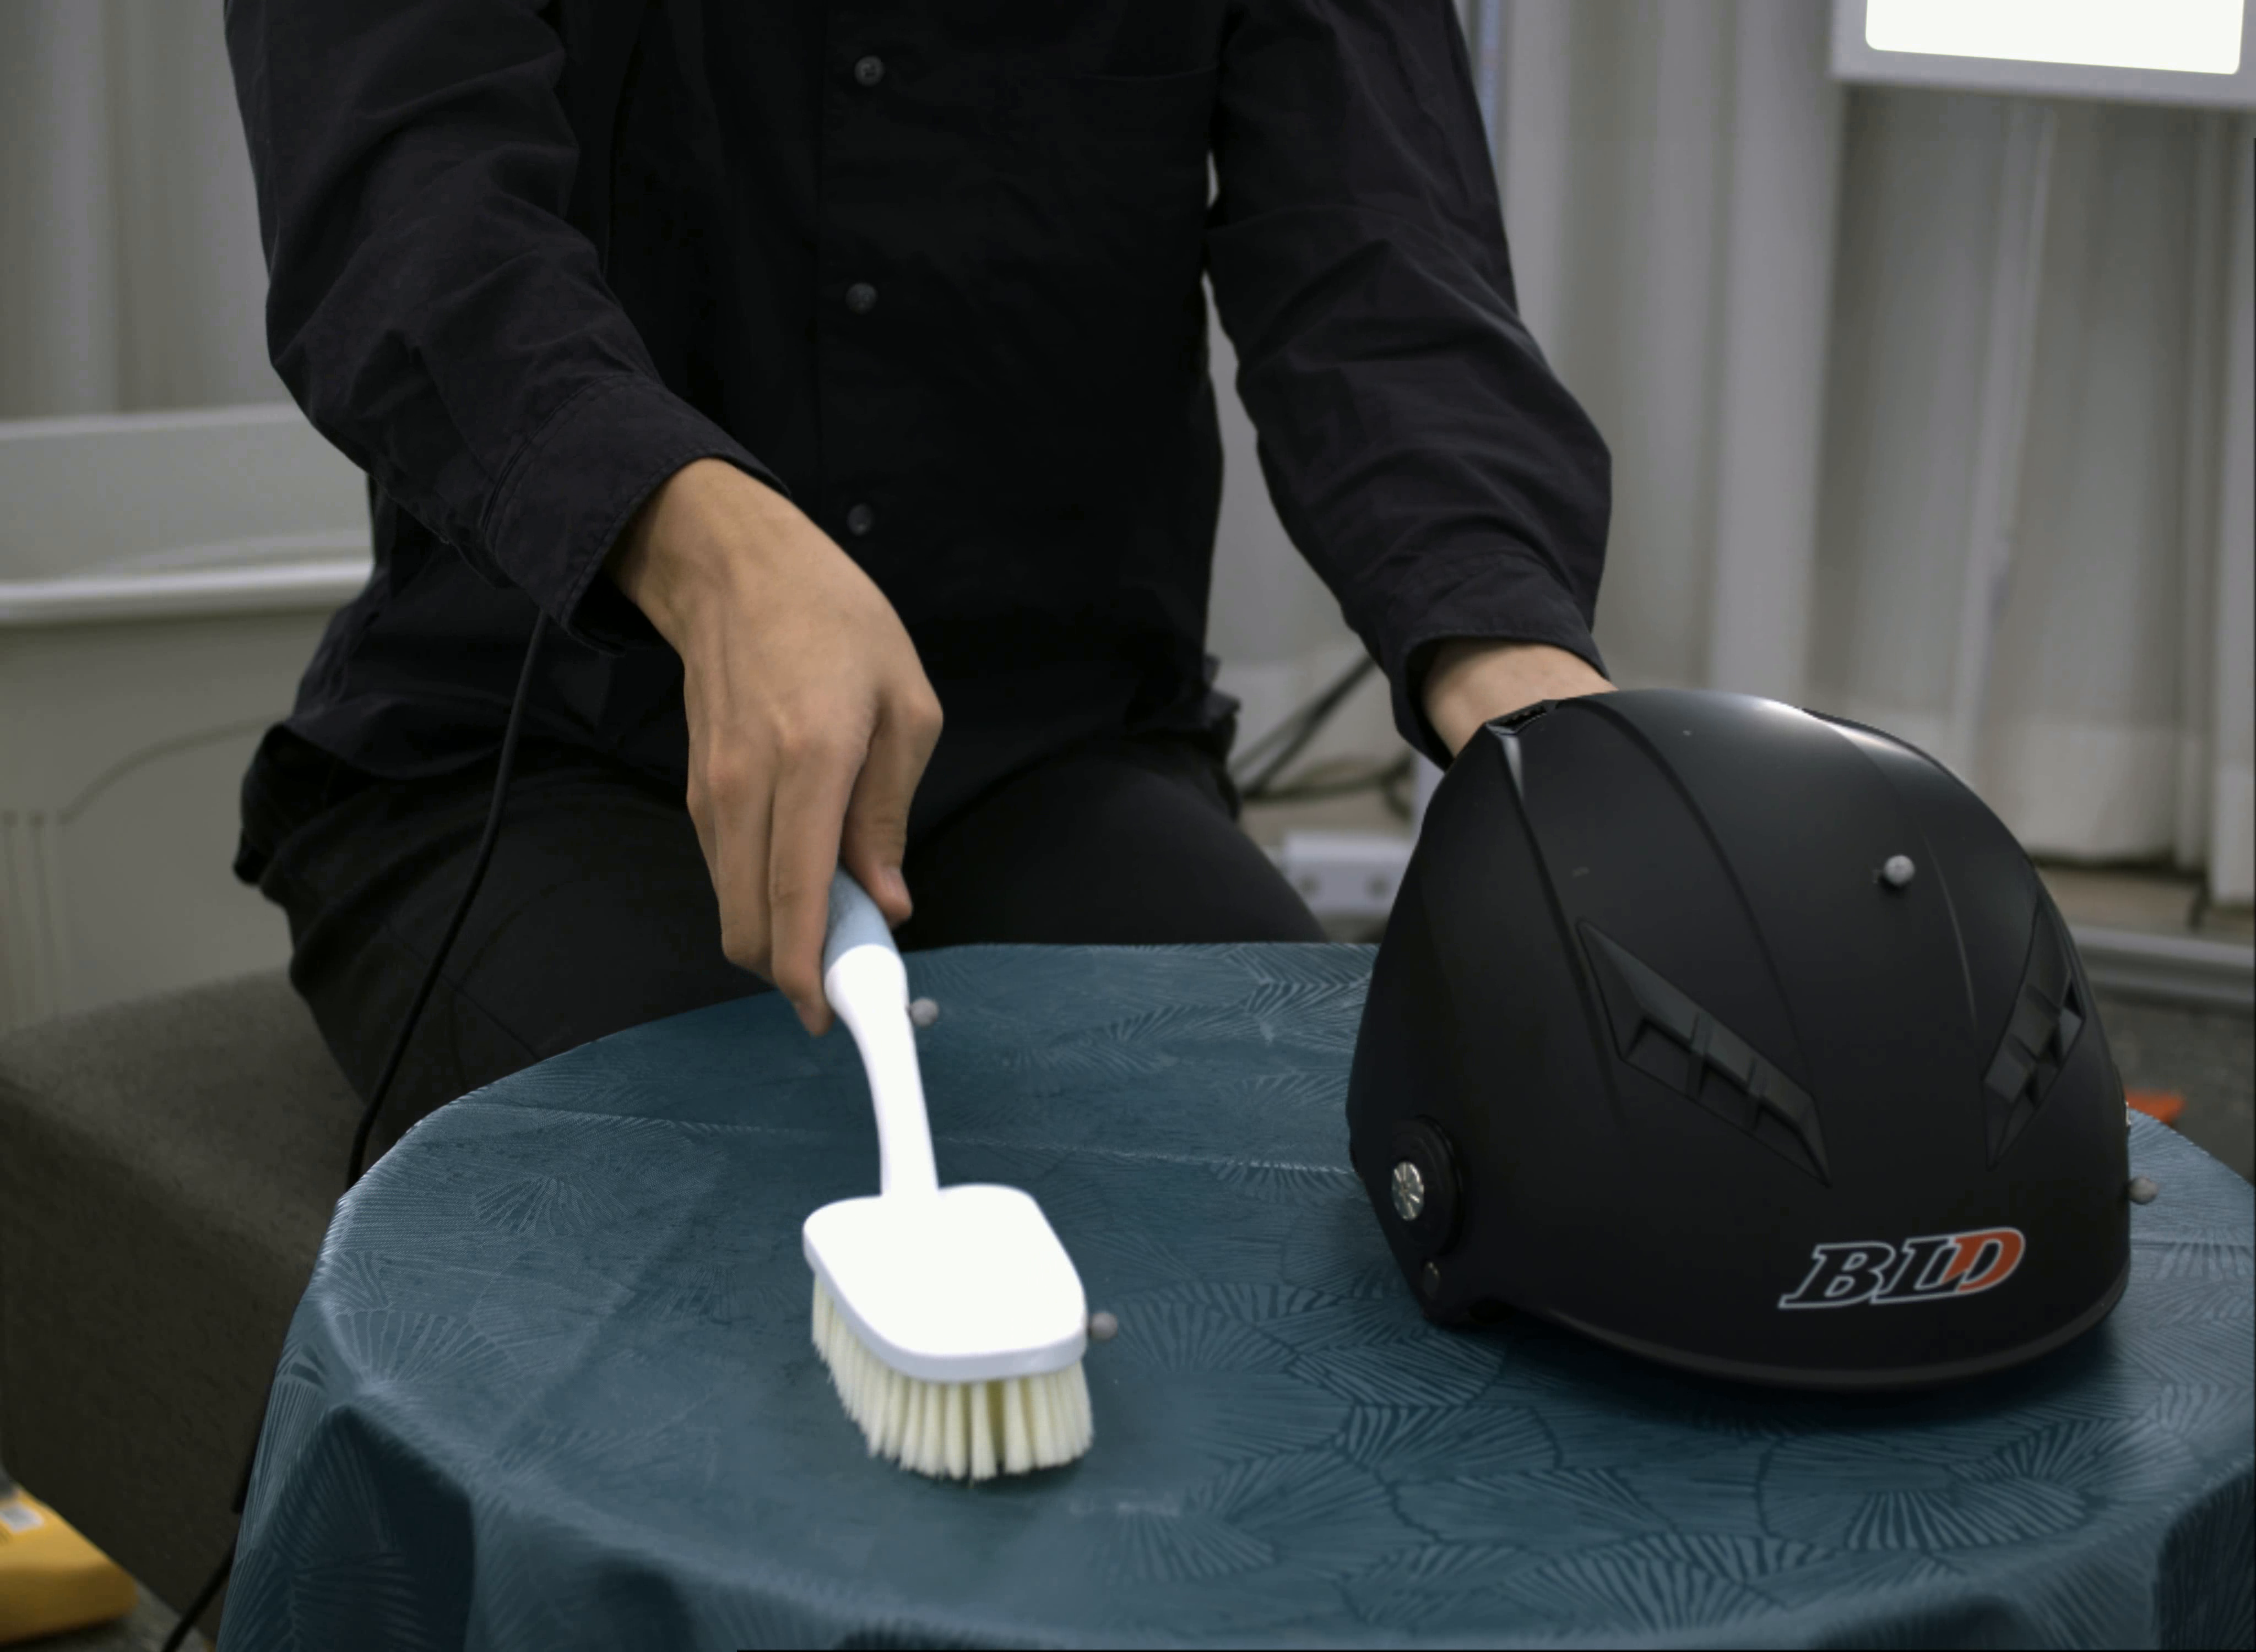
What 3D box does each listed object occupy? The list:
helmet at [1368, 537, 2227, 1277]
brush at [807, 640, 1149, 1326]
[{"bbox_3d":[0.199,0.014,1.582,0.247,0.174,0.273,-4,24,-15],"label":"helmet"},{"bbox_3d":[-0.051,0.057,1.563,0.084,0.084,0.321,31,18,-30],"label":"brush"}]
